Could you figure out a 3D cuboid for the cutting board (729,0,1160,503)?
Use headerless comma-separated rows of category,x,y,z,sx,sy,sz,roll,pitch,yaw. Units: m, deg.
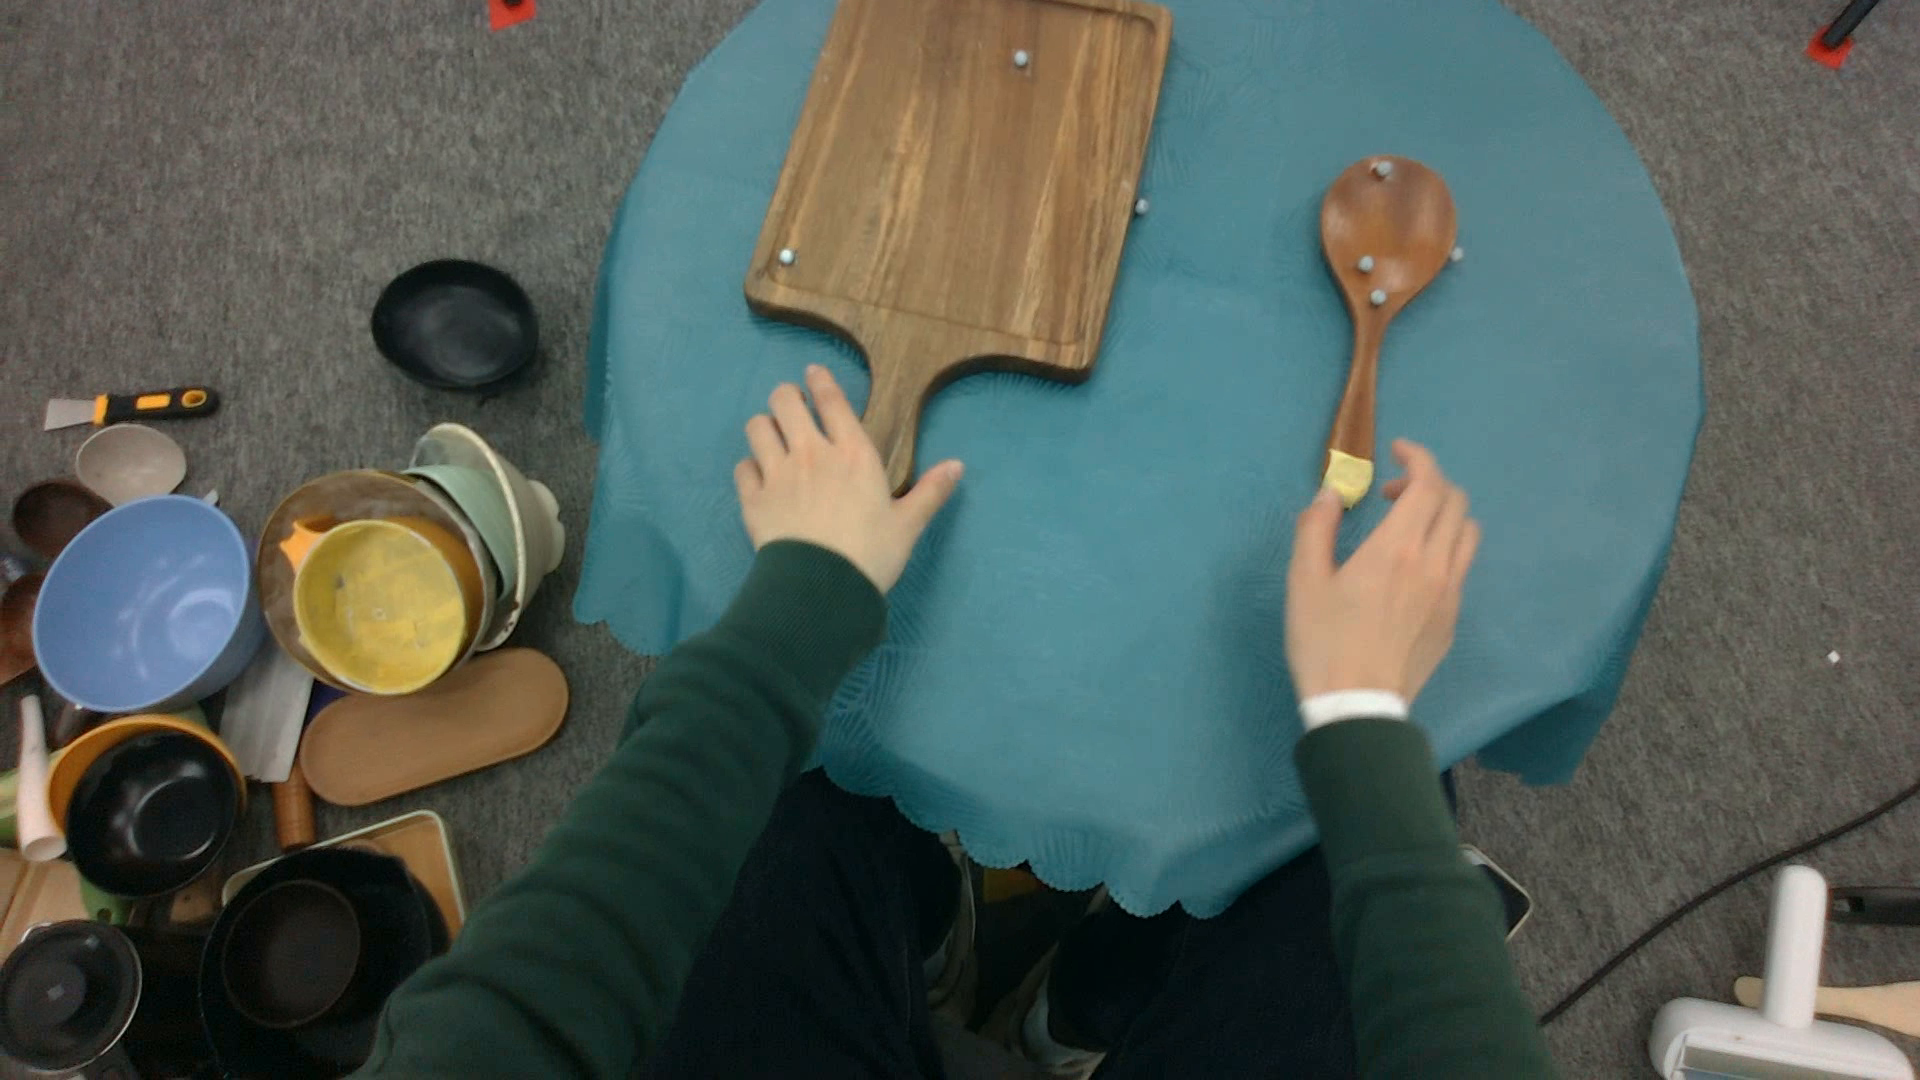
cutting board,-0.014,-0.184,0.766,0.201,0.023,0.353,13,70,3

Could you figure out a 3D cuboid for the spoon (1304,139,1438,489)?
spoon,0.214,-0.126,0.745,0.075,0.017,0.216,13,69,2
